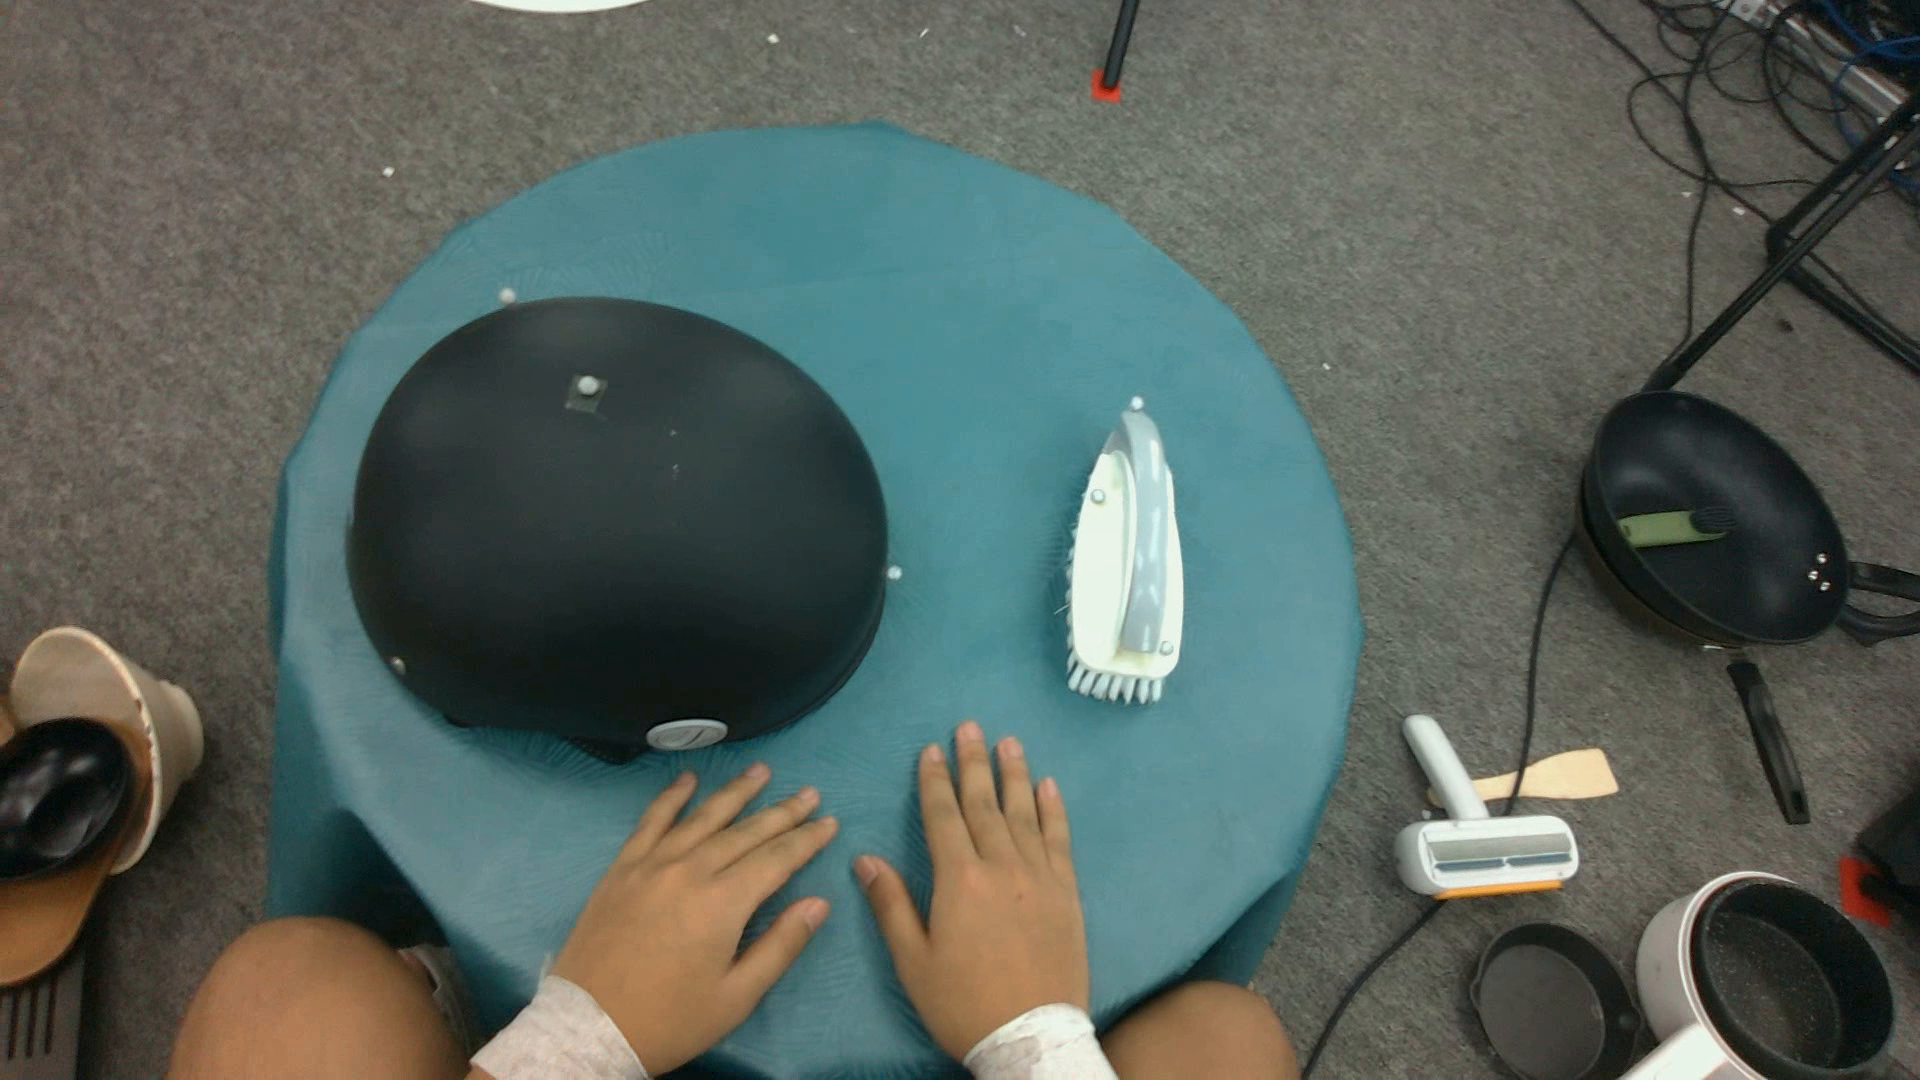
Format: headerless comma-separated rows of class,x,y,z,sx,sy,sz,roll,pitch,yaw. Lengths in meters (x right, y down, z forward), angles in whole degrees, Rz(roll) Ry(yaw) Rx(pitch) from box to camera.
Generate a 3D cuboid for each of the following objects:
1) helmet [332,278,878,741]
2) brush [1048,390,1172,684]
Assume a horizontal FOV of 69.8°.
helmet,-0.164,-0.029,0.668,0.273,0.166,0.231,8,61,-10
brush,0.087,-0.018,0.755,0.061,0.094,0.176,10,59,-9
